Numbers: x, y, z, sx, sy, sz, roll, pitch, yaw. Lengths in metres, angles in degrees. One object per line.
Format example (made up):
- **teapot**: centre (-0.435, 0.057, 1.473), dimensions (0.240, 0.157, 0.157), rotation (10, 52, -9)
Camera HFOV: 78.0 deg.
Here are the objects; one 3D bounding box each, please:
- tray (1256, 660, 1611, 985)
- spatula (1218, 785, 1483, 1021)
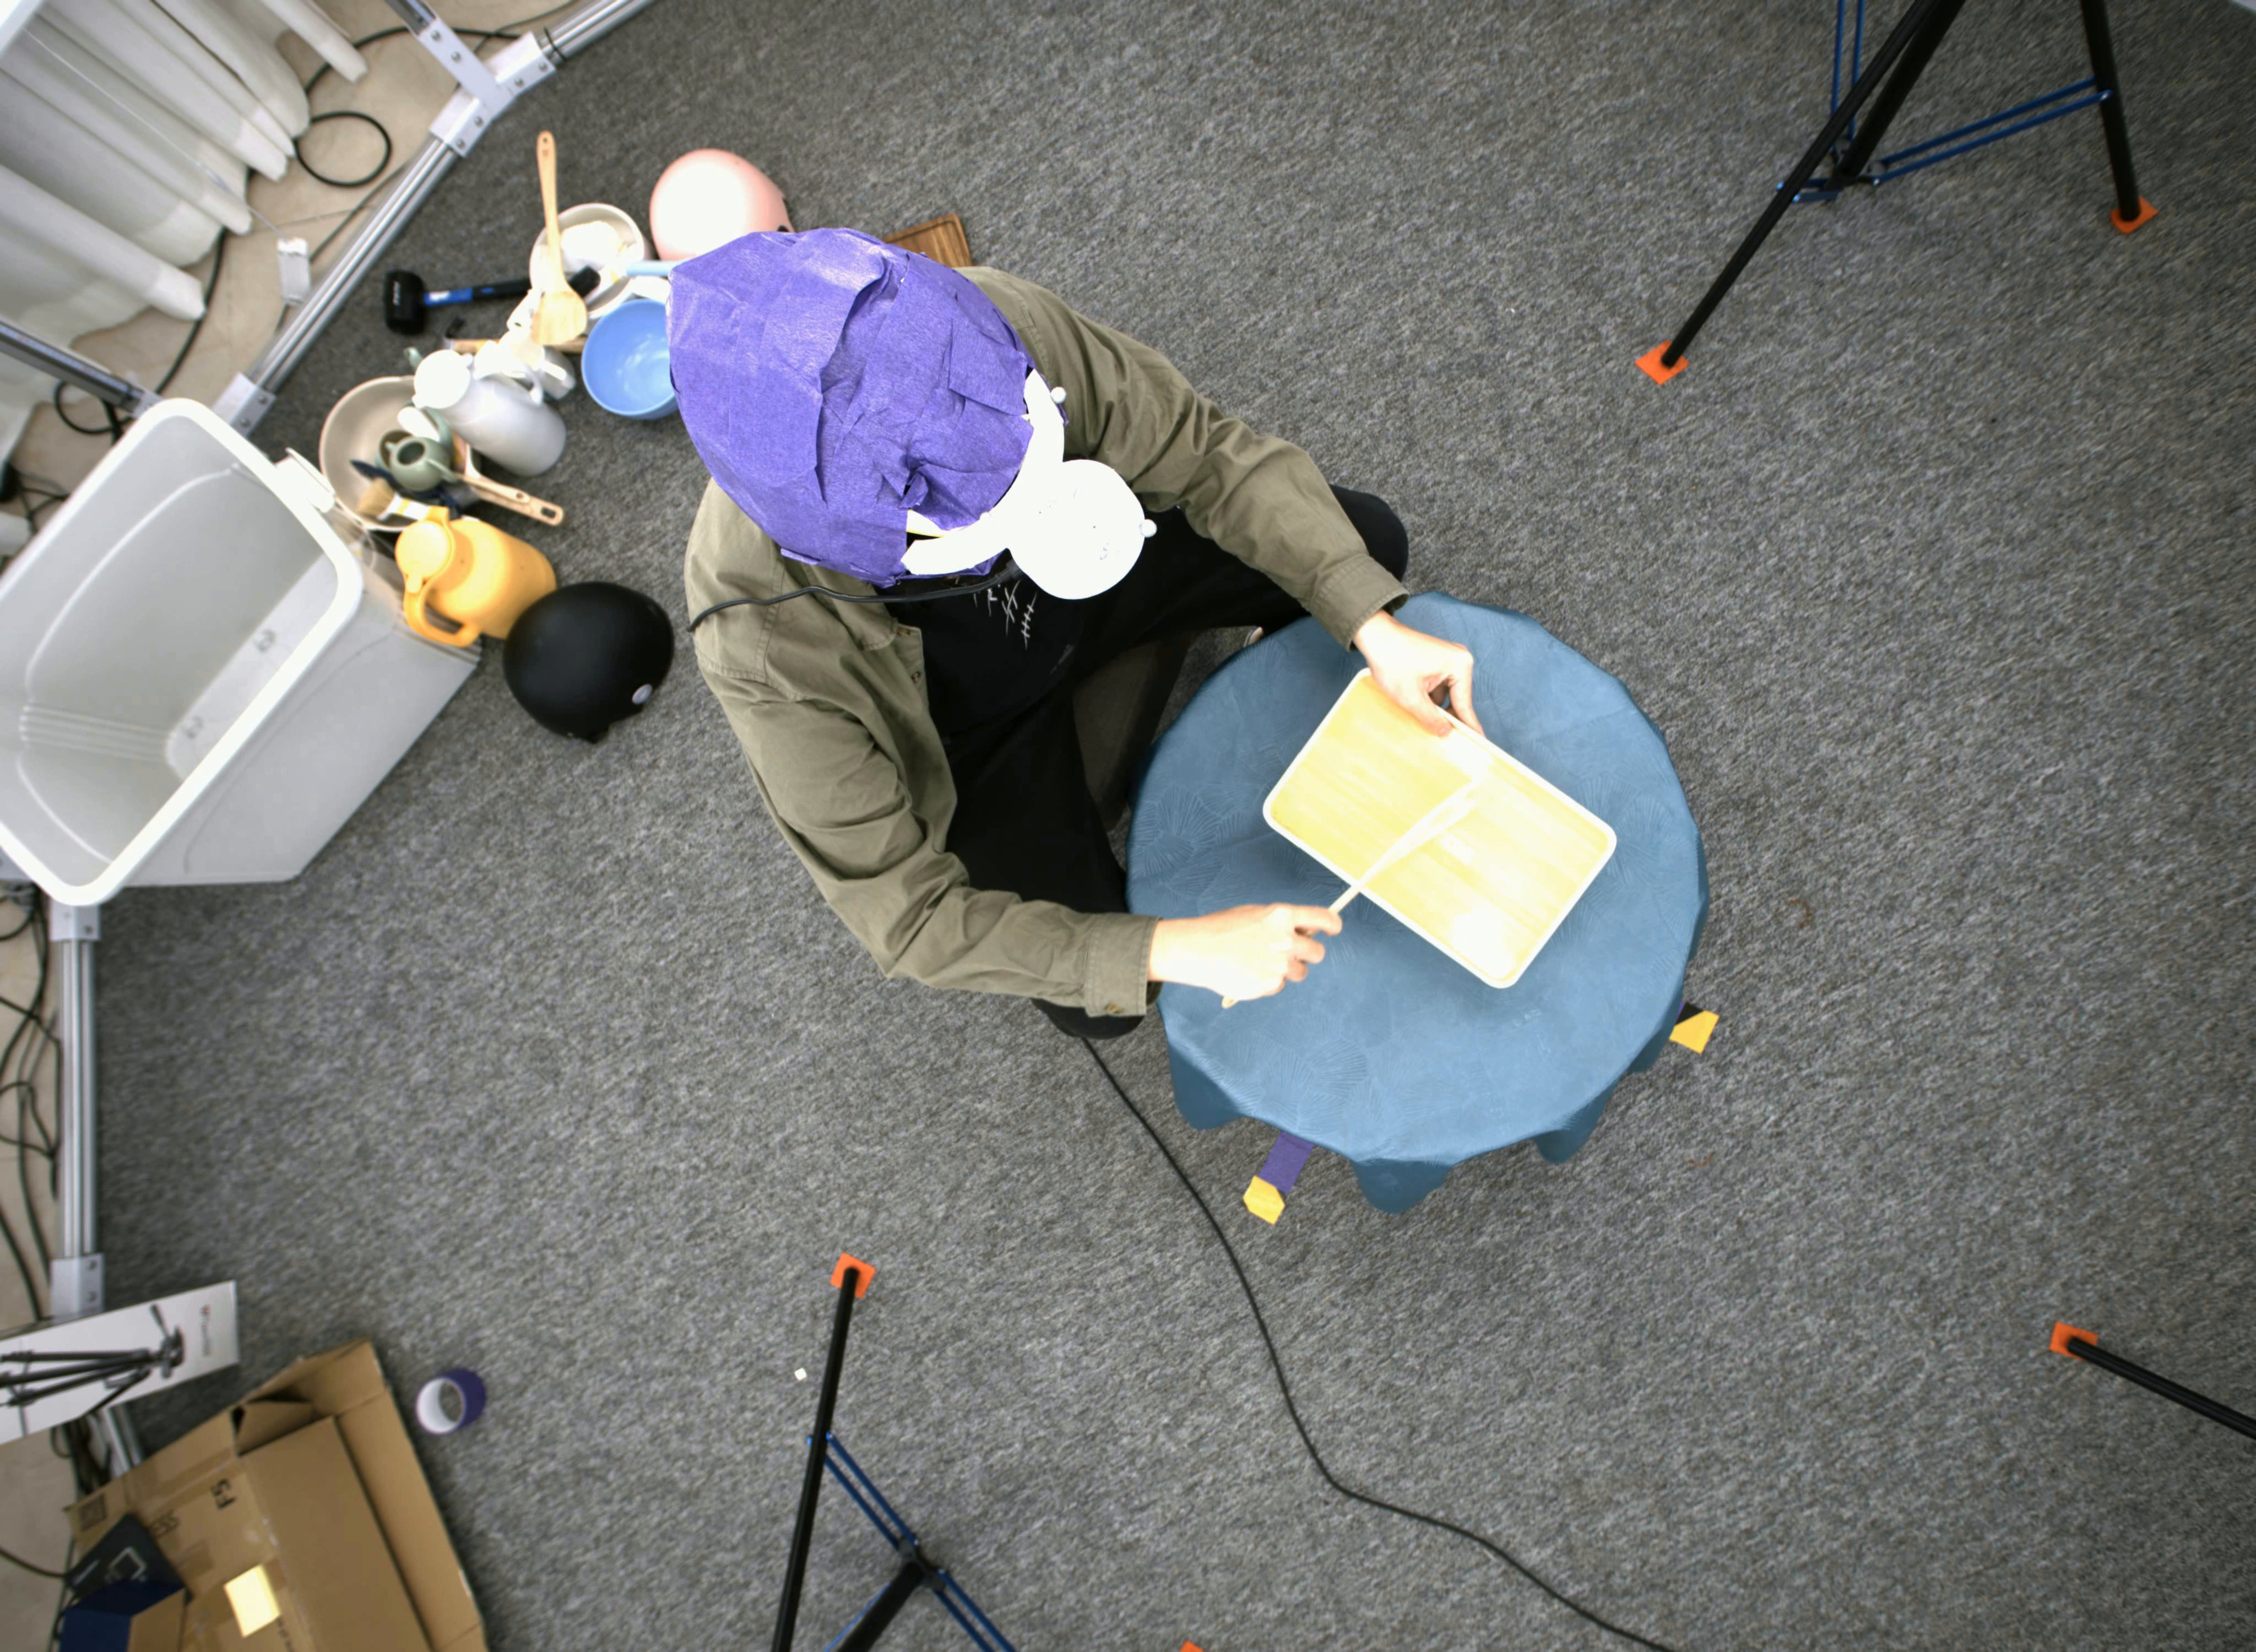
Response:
- **tray**: centre (0.294, -0.006, 1.340), dimensions (0.299, 0.027, 0.193), rotation (37, 98, 8)
- **spatula**: centre (0.207, 0.069, 1.265), dimensions (0.326, 0.081, 0.016), rotation (-41, 70, -6)
